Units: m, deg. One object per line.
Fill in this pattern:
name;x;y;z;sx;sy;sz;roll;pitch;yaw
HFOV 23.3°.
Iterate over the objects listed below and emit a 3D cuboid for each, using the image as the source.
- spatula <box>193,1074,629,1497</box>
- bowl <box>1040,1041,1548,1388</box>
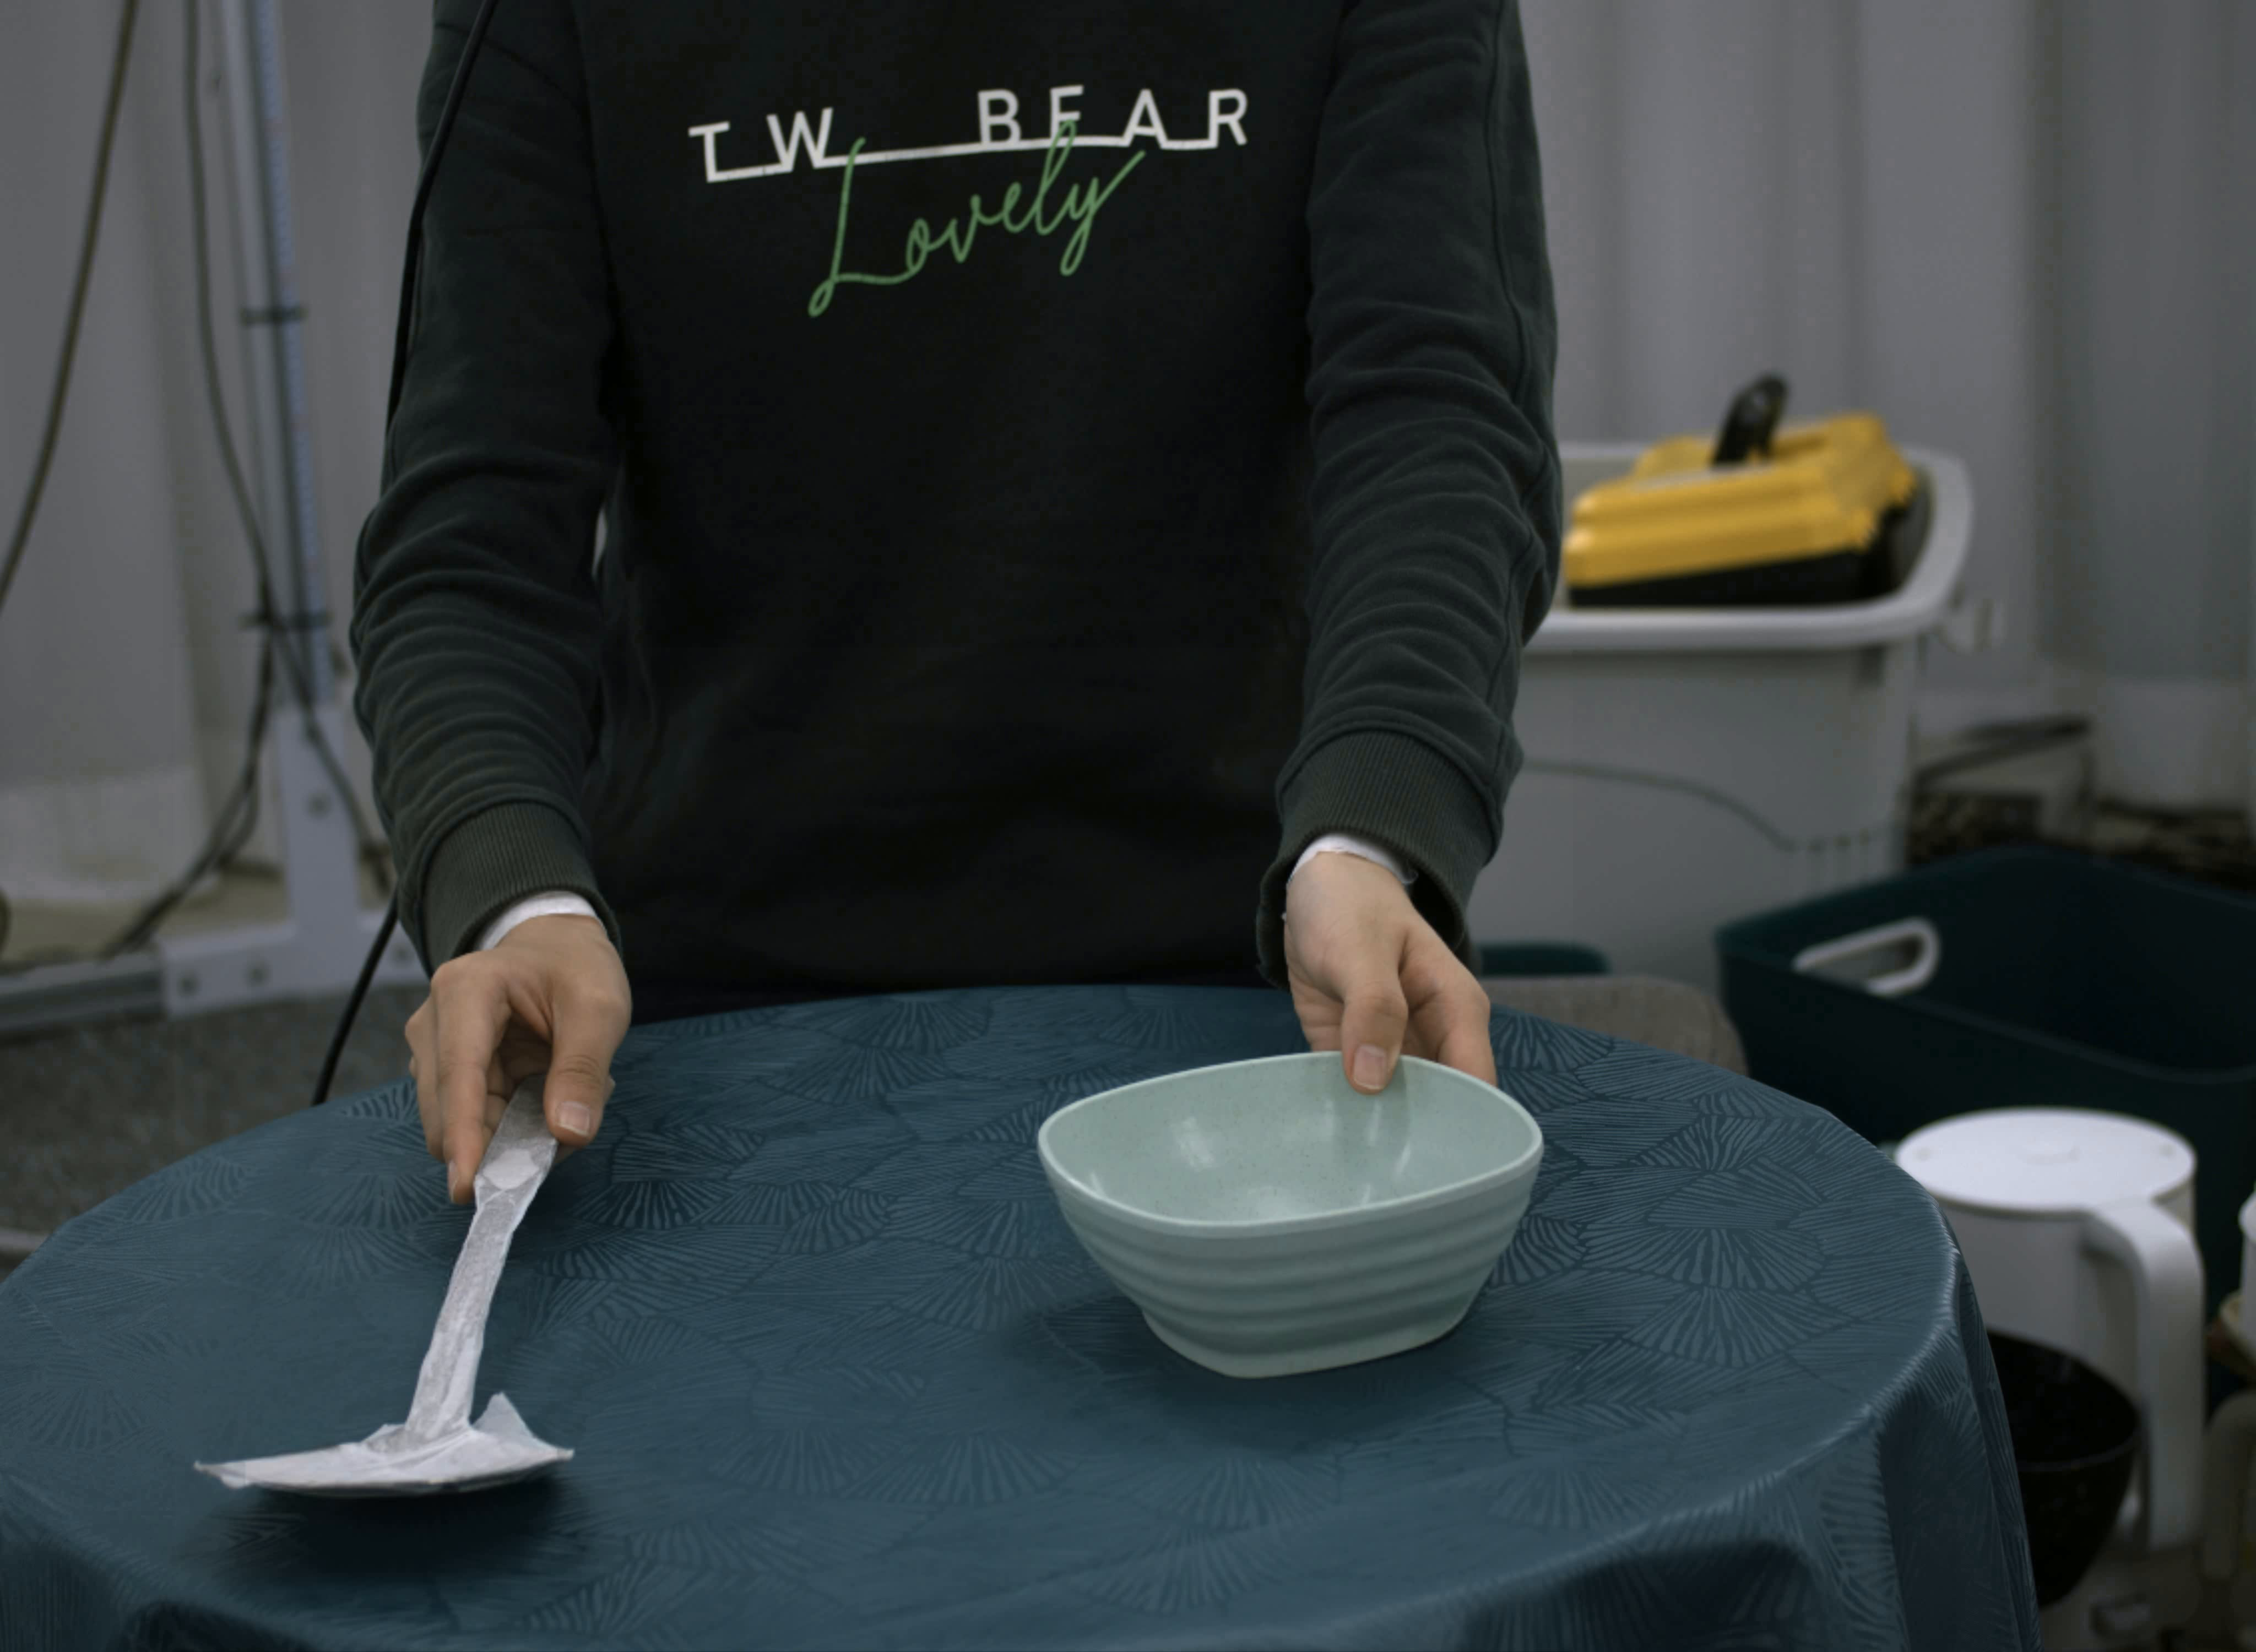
spatula;-0.187;0.126;1.599;0.098;0.044;0.368;-3;20;5
bowl;0.049;0.117;1.587;0.151;0.058;0.153;-4;19;1
